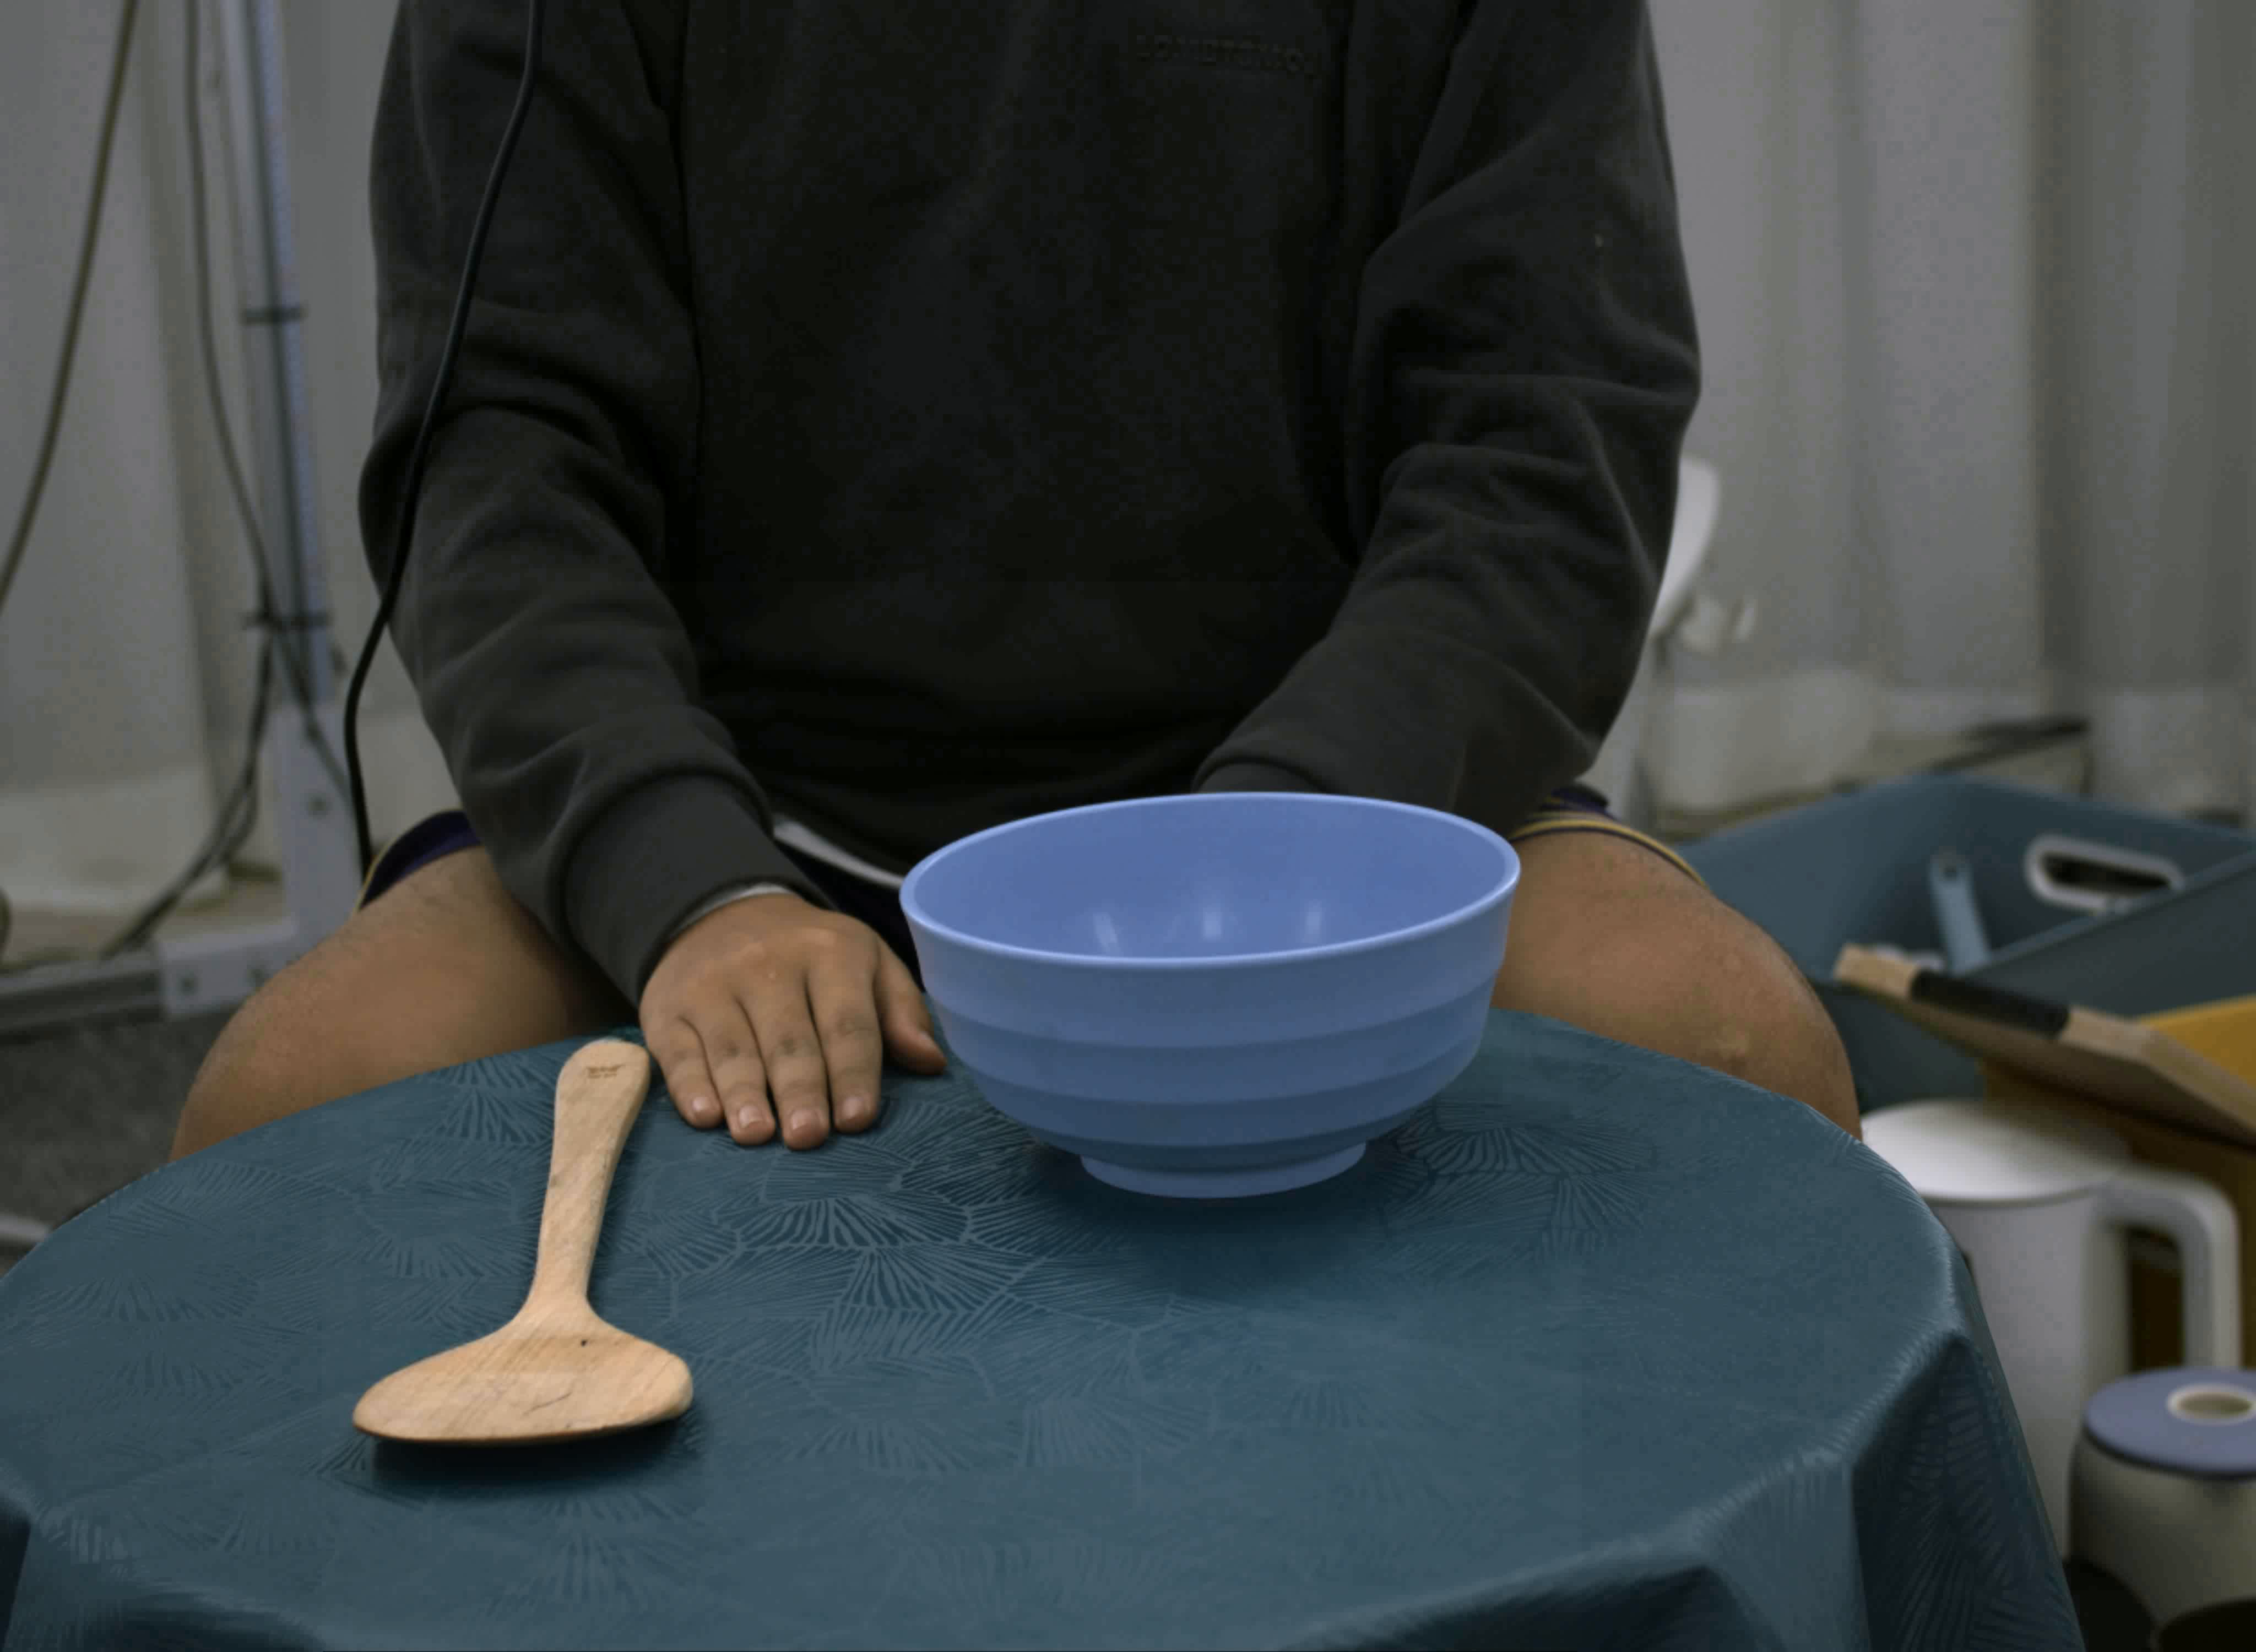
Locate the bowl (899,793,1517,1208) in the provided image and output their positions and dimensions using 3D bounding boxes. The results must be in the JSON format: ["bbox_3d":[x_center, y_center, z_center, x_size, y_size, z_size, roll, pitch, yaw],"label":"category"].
[{"bbox_3d":[0.029,0.061,1.737,0.196,0.095,0.198,-5,16,1],"label":"bowl"}]

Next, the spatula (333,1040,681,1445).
[{"bbox_3d":[-0.178,0.123,1.685,0.095,0.018,0.393,-1,15,-1],"label":"spatula"}]
